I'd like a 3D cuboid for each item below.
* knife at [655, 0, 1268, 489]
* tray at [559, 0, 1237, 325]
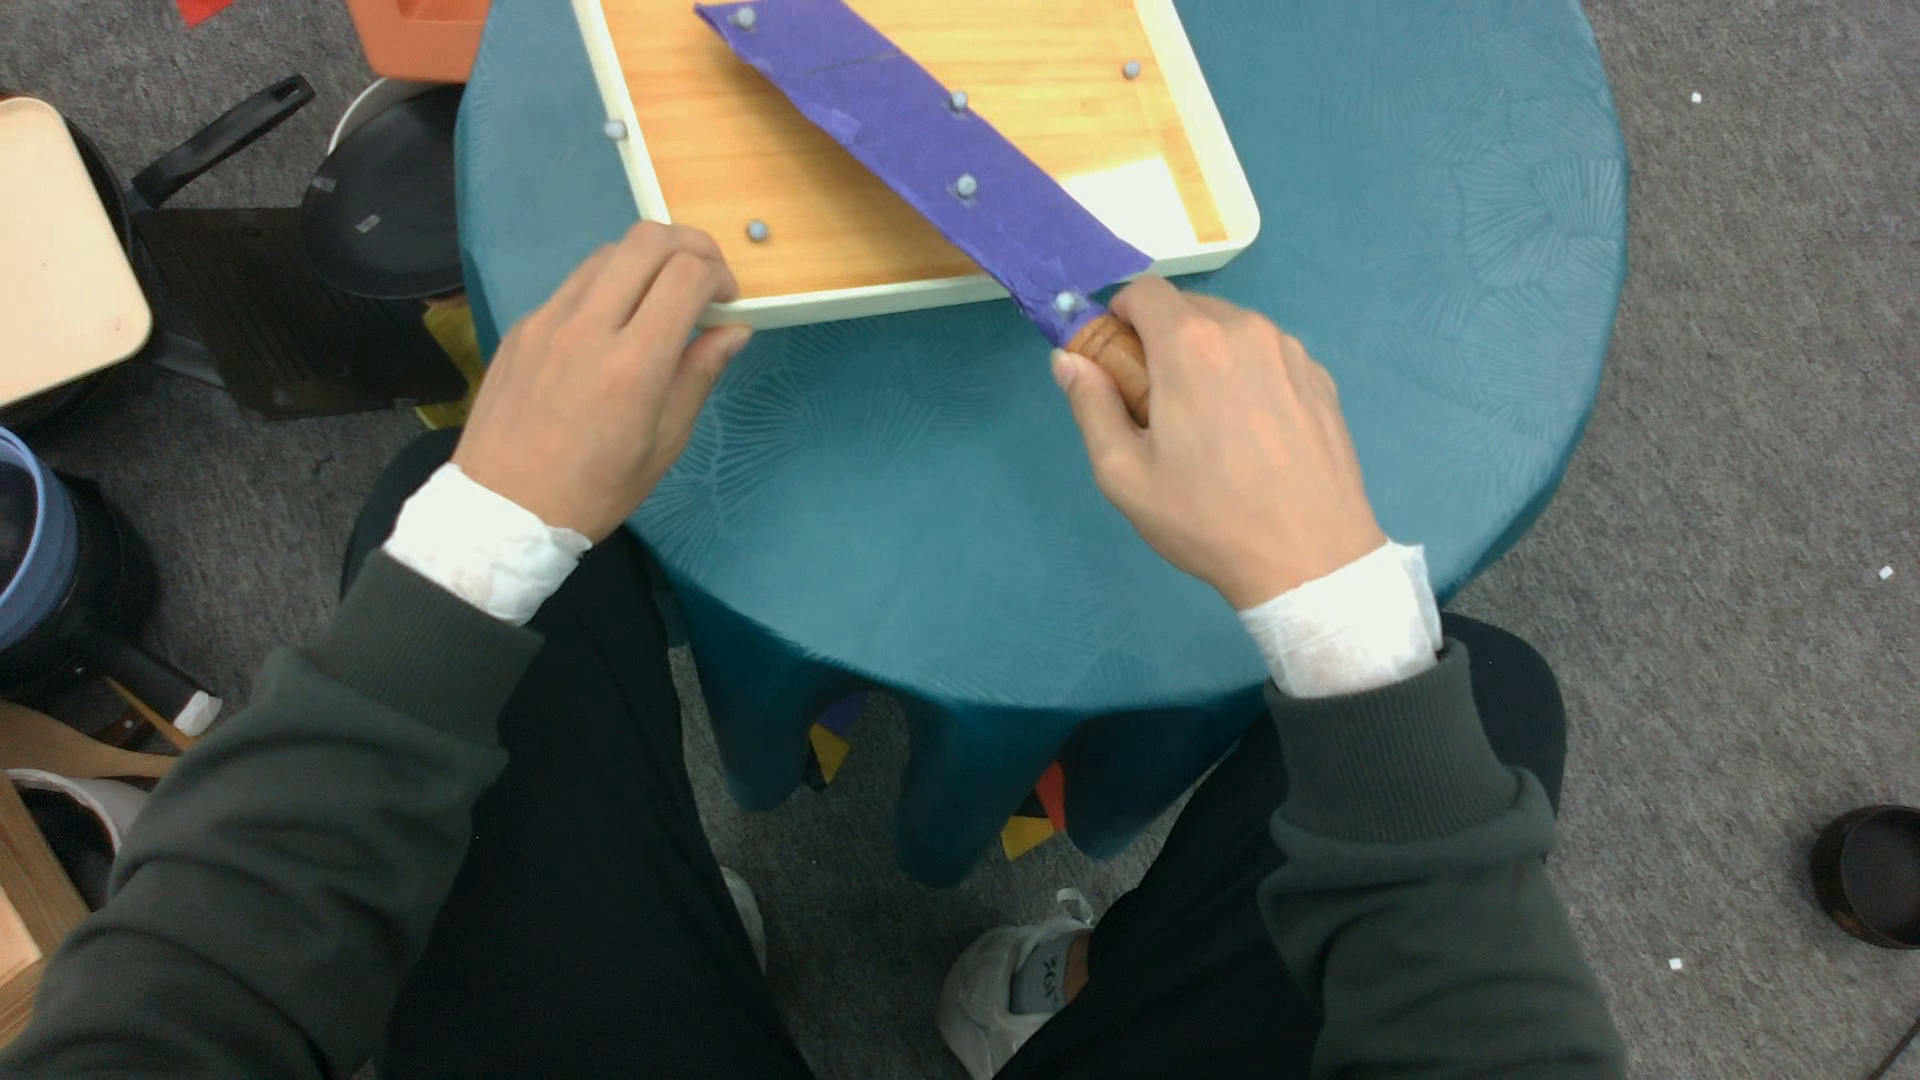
[{"bbox_3d":[0.013,-0.145,0.573,0.315,0.032,0.104,43,42,12],"label":"knife"},{"bbox_3d":[-0.020,-0.205,0.640,0.301,0.027,0.192,-13,77,-29],"label":"tray"}]
